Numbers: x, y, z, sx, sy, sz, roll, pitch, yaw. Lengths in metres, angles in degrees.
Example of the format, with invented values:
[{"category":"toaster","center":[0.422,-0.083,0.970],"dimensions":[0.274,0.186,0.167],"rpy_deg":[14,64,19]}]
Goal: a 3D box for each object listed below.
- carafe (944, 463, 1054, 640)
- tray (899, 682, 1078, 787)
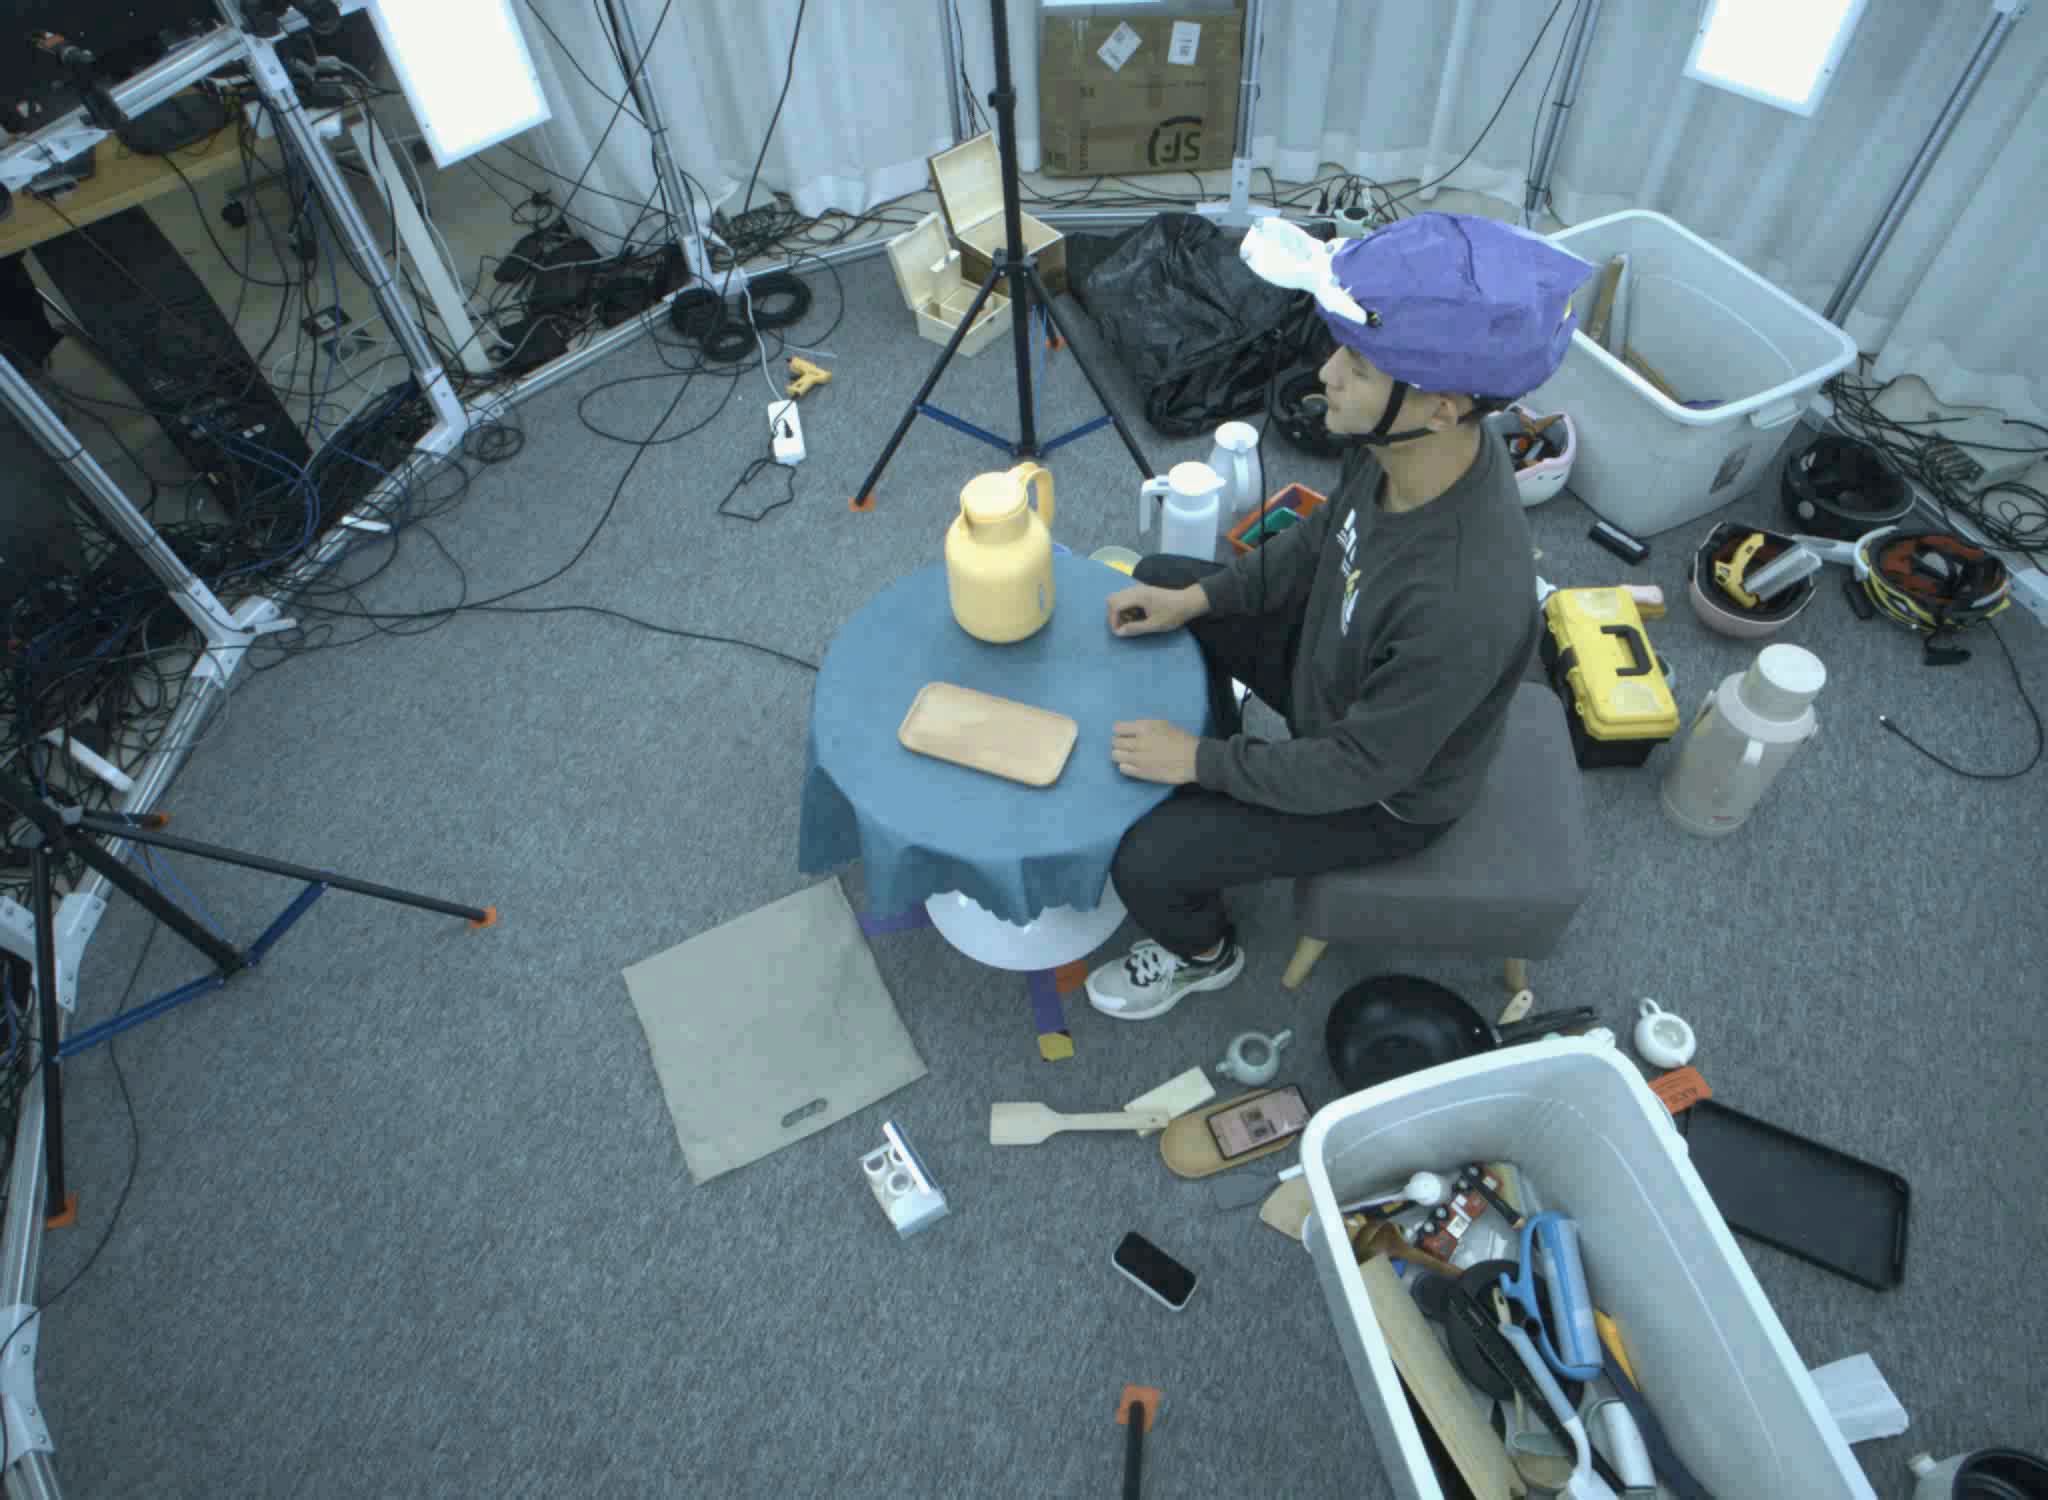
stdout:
[{"category":"carafe","center":[-0.026,-0.307,1.843],"dimensions":[0.161,0.263,0.203],"rpy_deg":[35,64,21]},{"category":"tray","center":[-0.052,-0.024,1.793],"dimensions":[0.248,0.023,0.130],"rpy_deg":[17,59,13]}]
